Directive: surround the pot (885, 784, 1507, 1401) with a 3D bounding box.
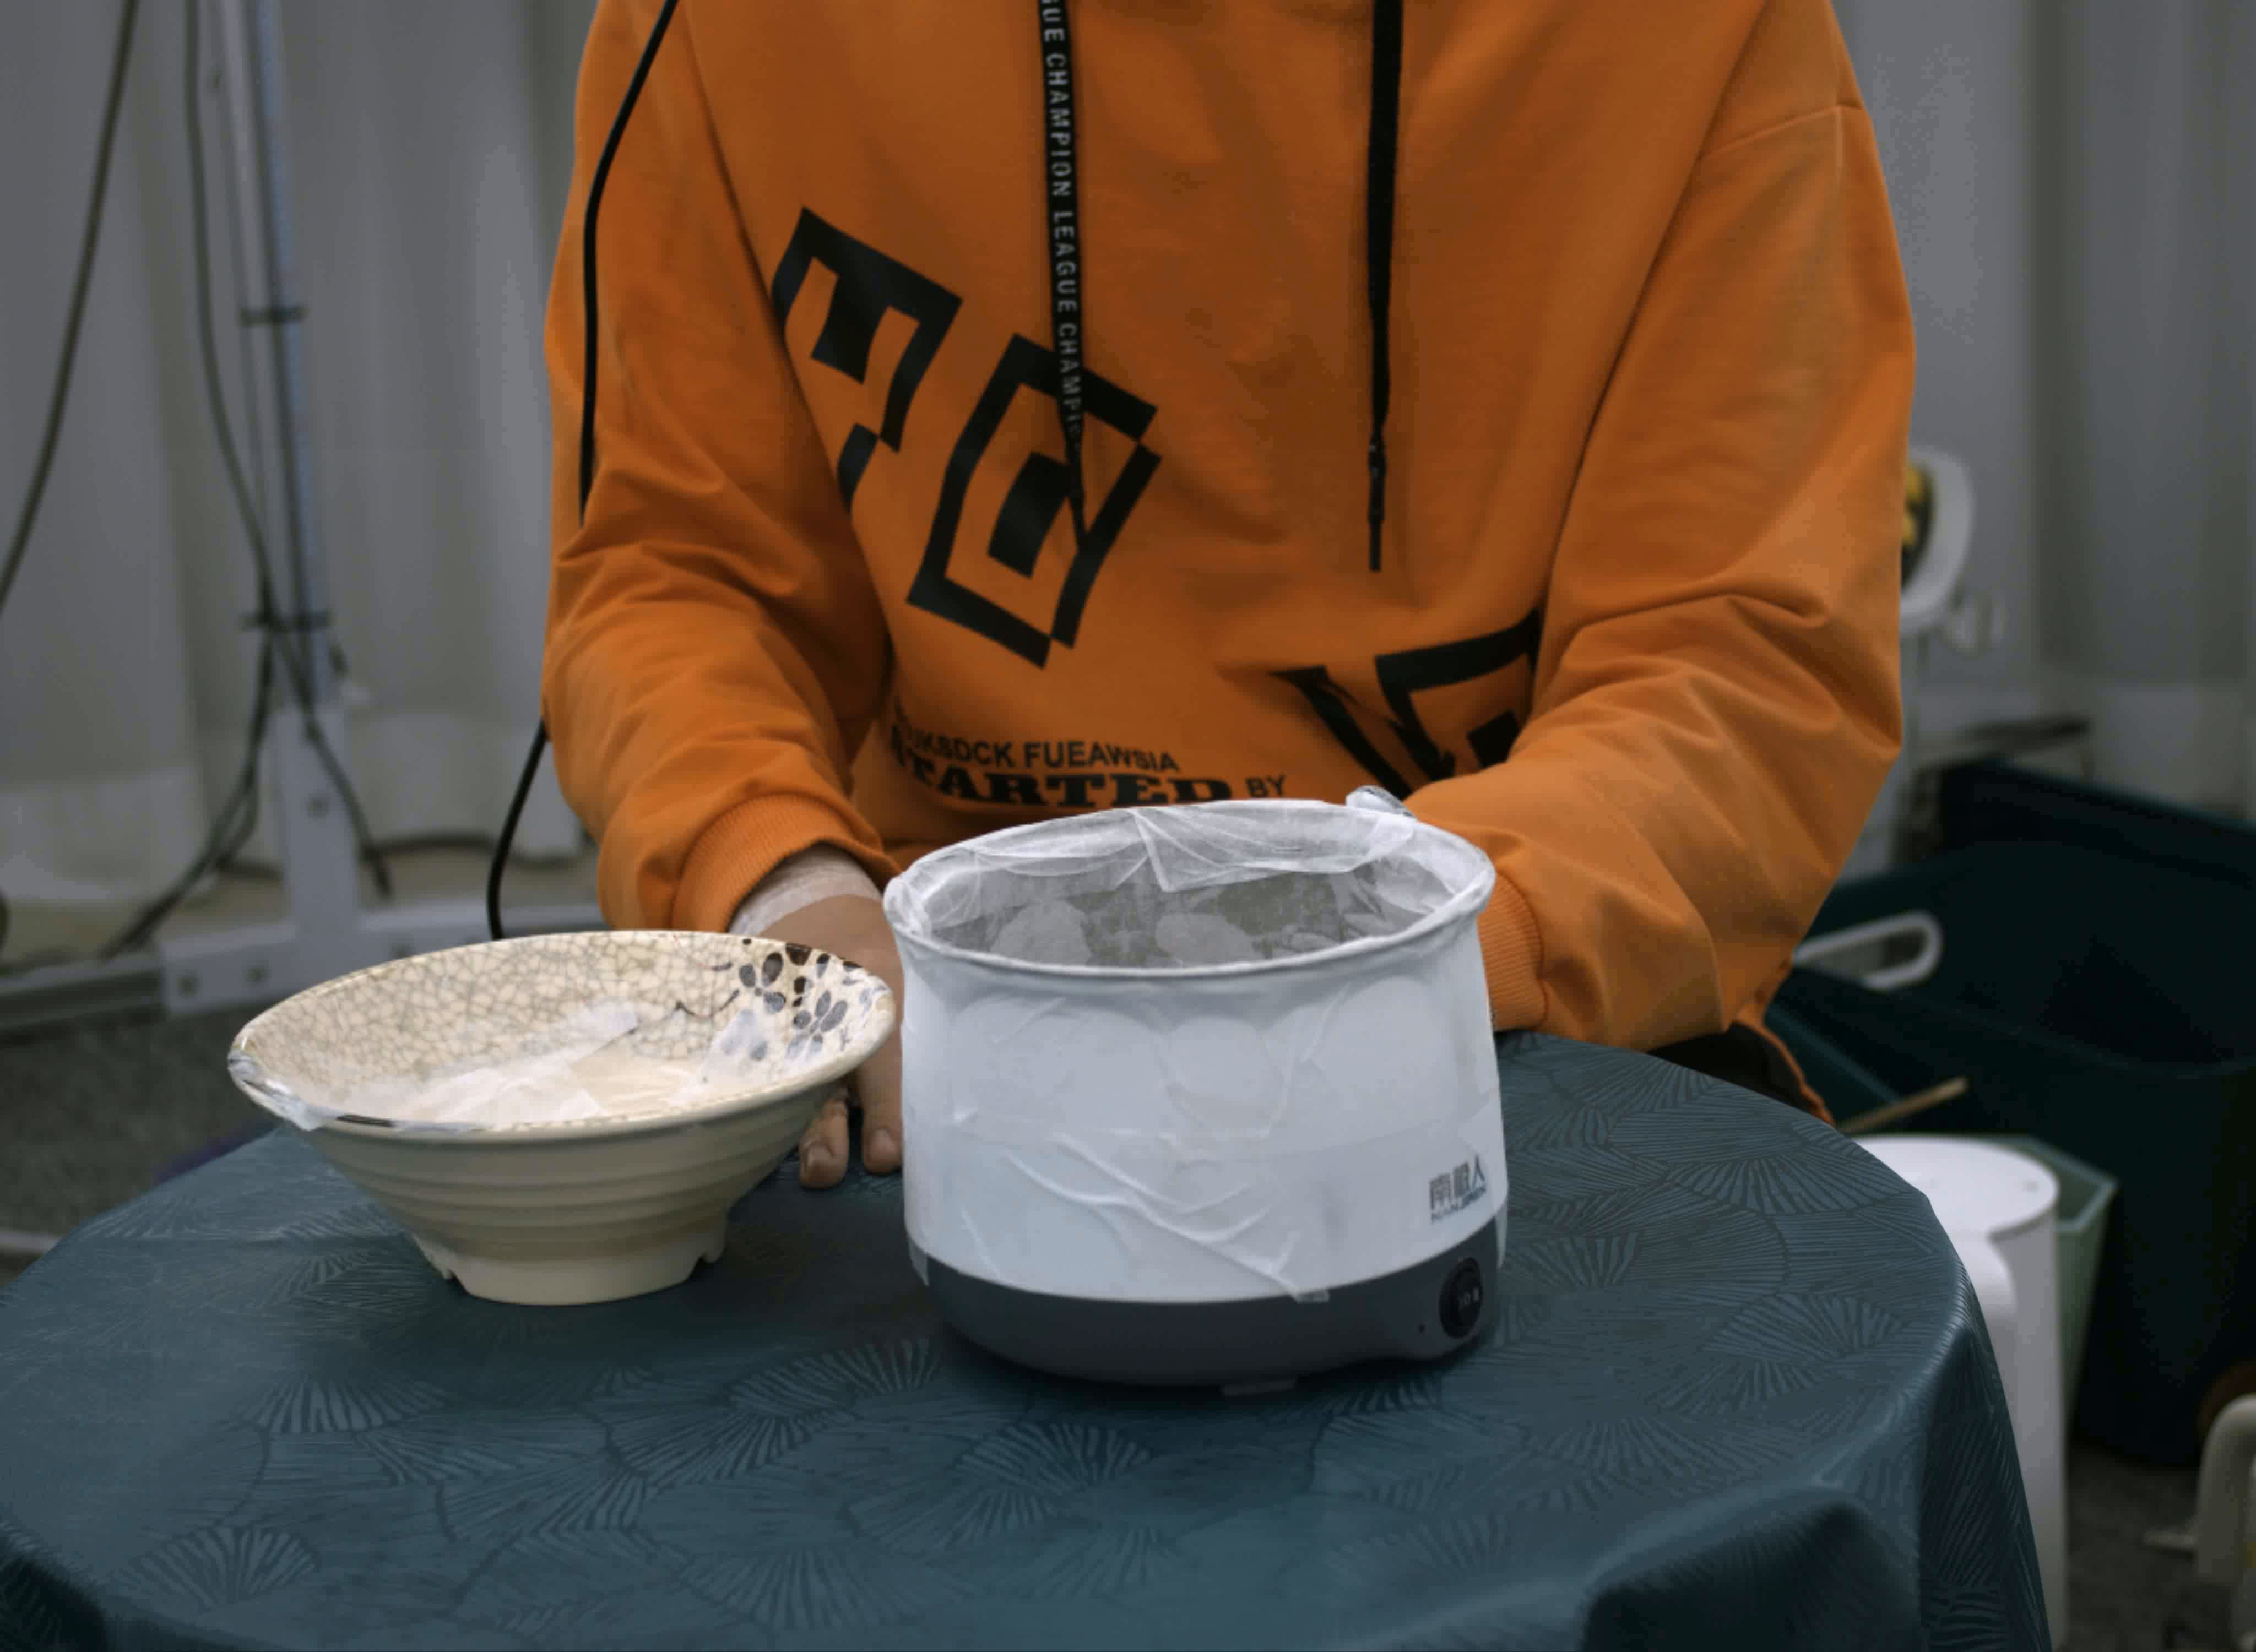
[{"bbox_3d":[0.036,0.071,1.610,0.179,0.136,0.234,7,18,32],"label":"pot"}]

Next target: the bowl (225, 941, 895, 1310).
[{"bbox_3d":[-0.170,0.098,1.669,0.203,0.078,0.205,-3,13,0],"label":"bowl"}]
